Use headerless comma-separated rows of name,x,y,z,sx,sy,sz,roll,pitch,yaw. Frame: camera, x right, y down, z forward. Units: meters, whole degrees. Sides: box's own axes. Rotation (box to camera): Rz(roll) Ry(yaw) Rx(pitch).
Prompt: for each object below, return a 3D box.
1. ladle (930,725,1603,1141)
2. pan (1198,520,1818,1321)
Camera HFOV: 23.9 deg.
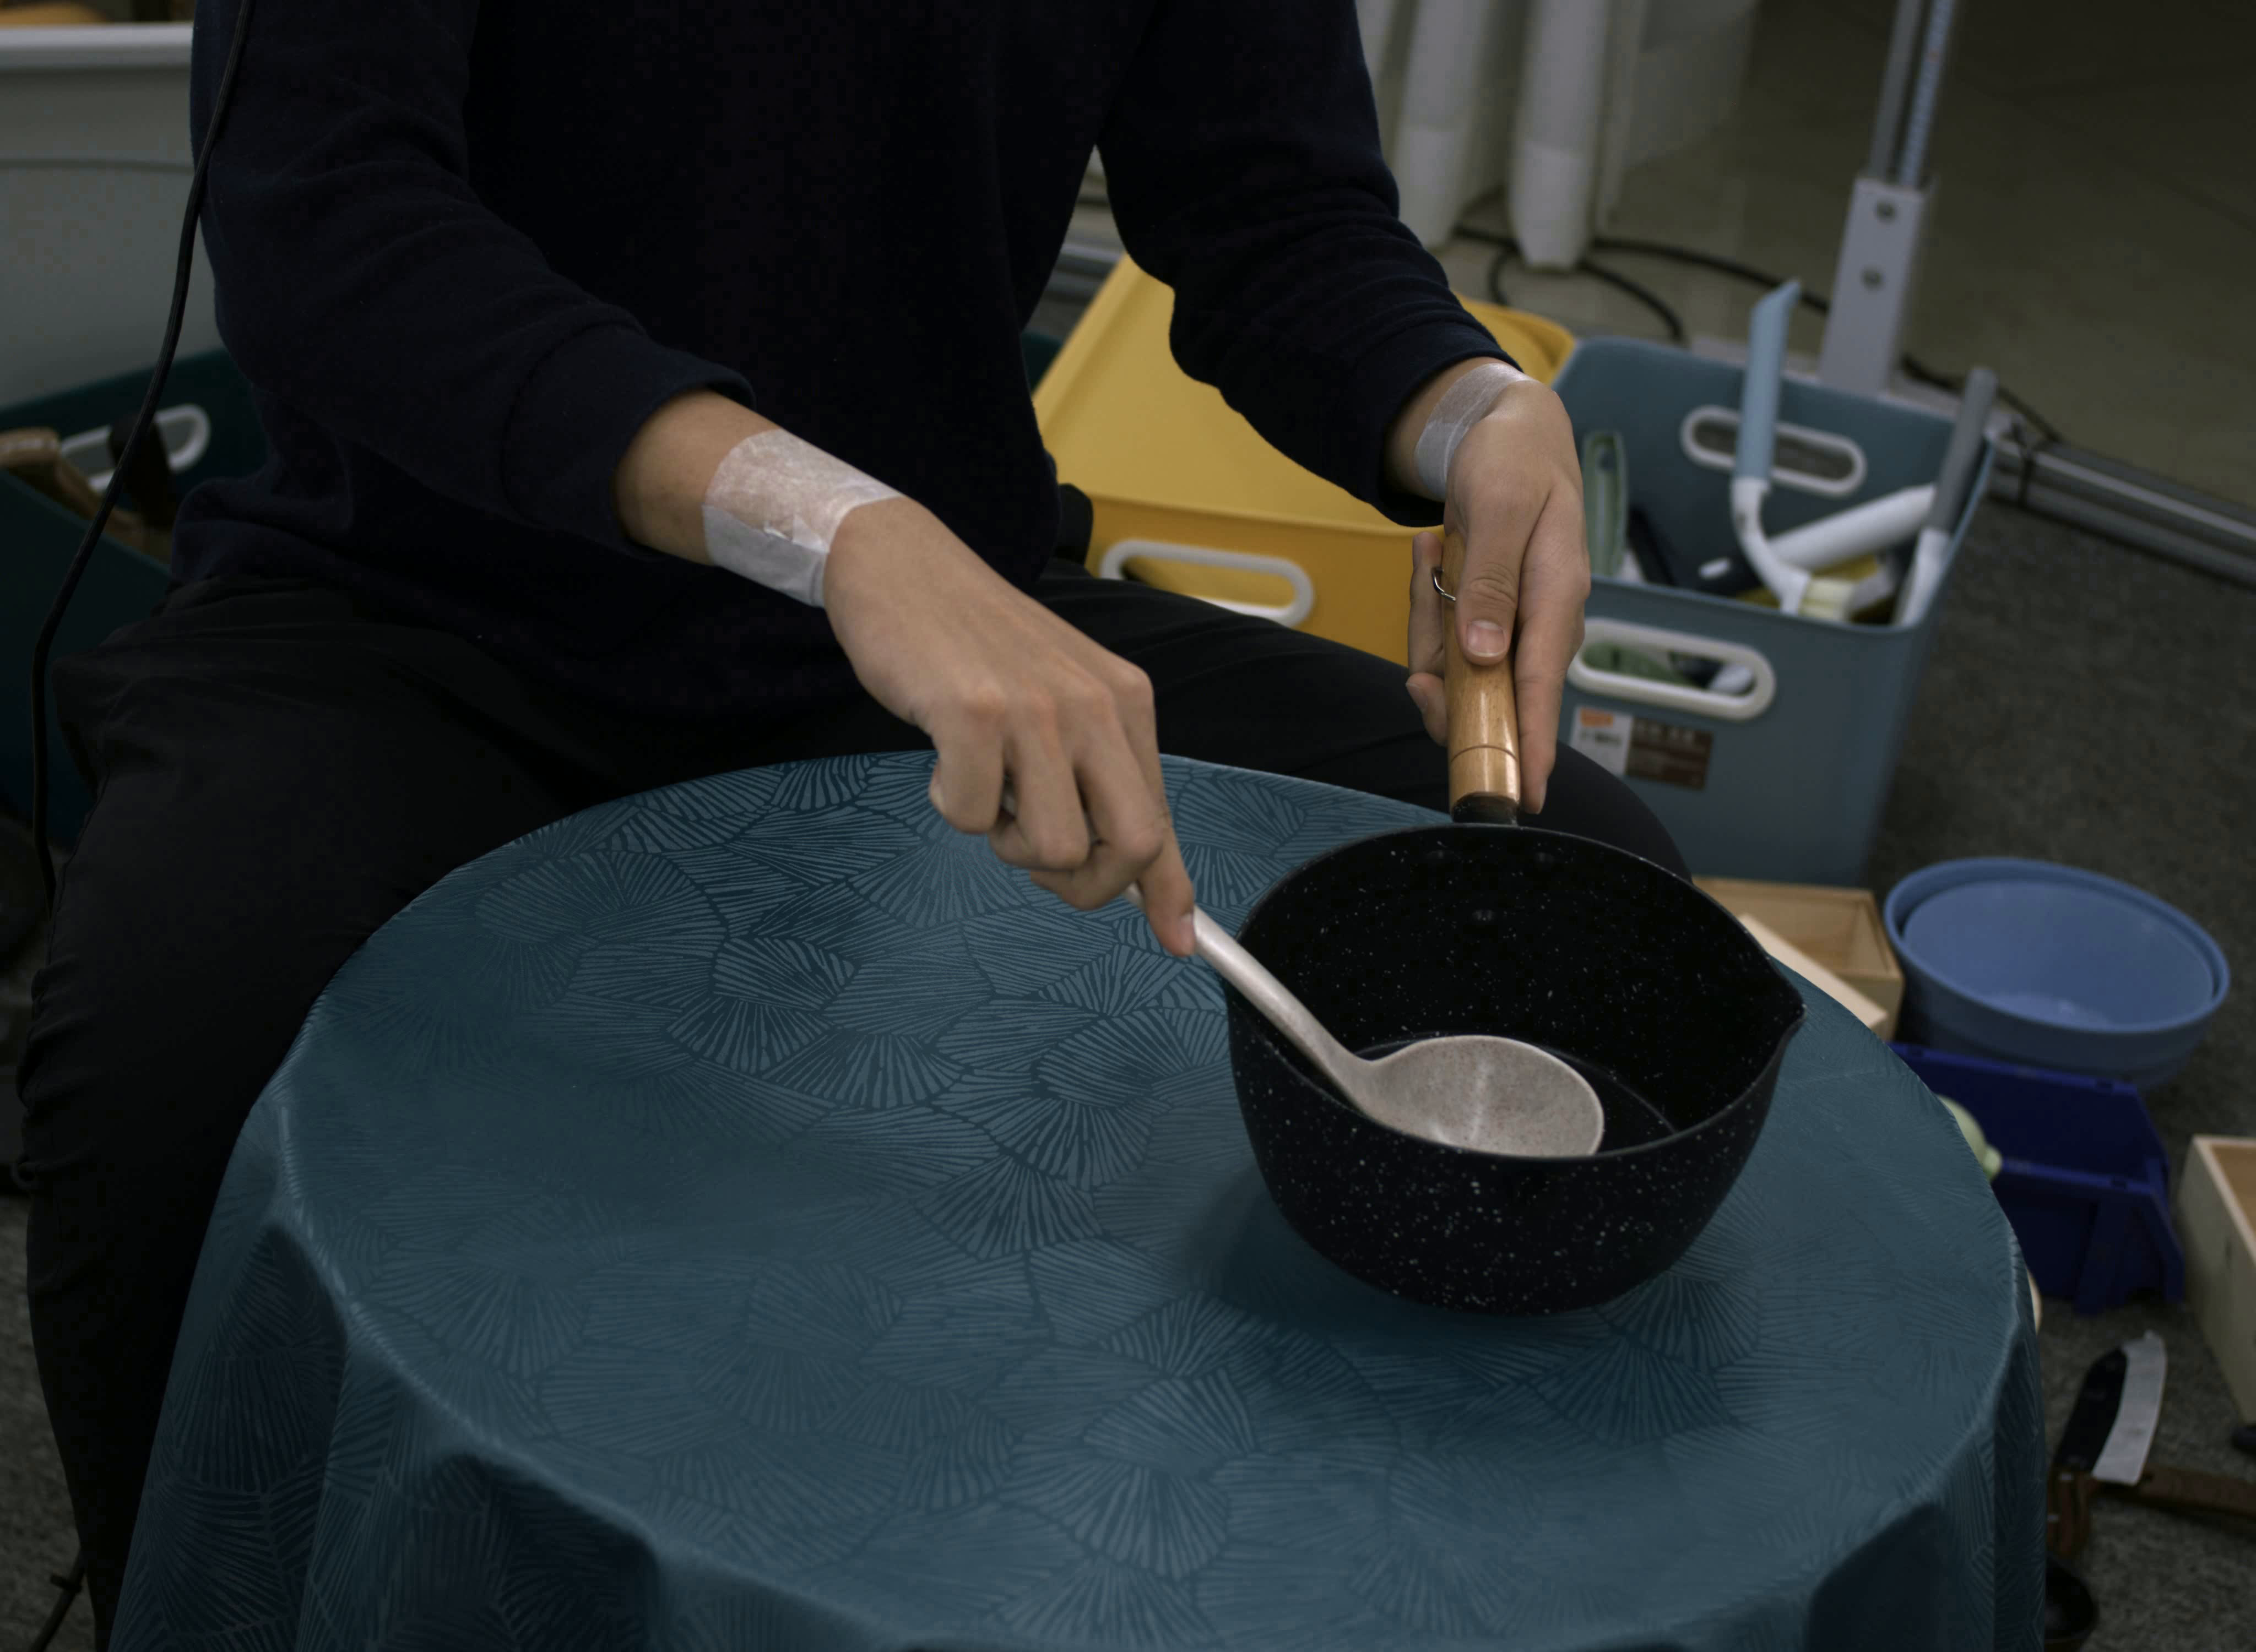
ladle,0.049,0.037,1.733,0.272,0.069,0.090,43,29,-30
pan,0.123,0.030,1.850,0.207,0.108,0.345,2,37,-3
